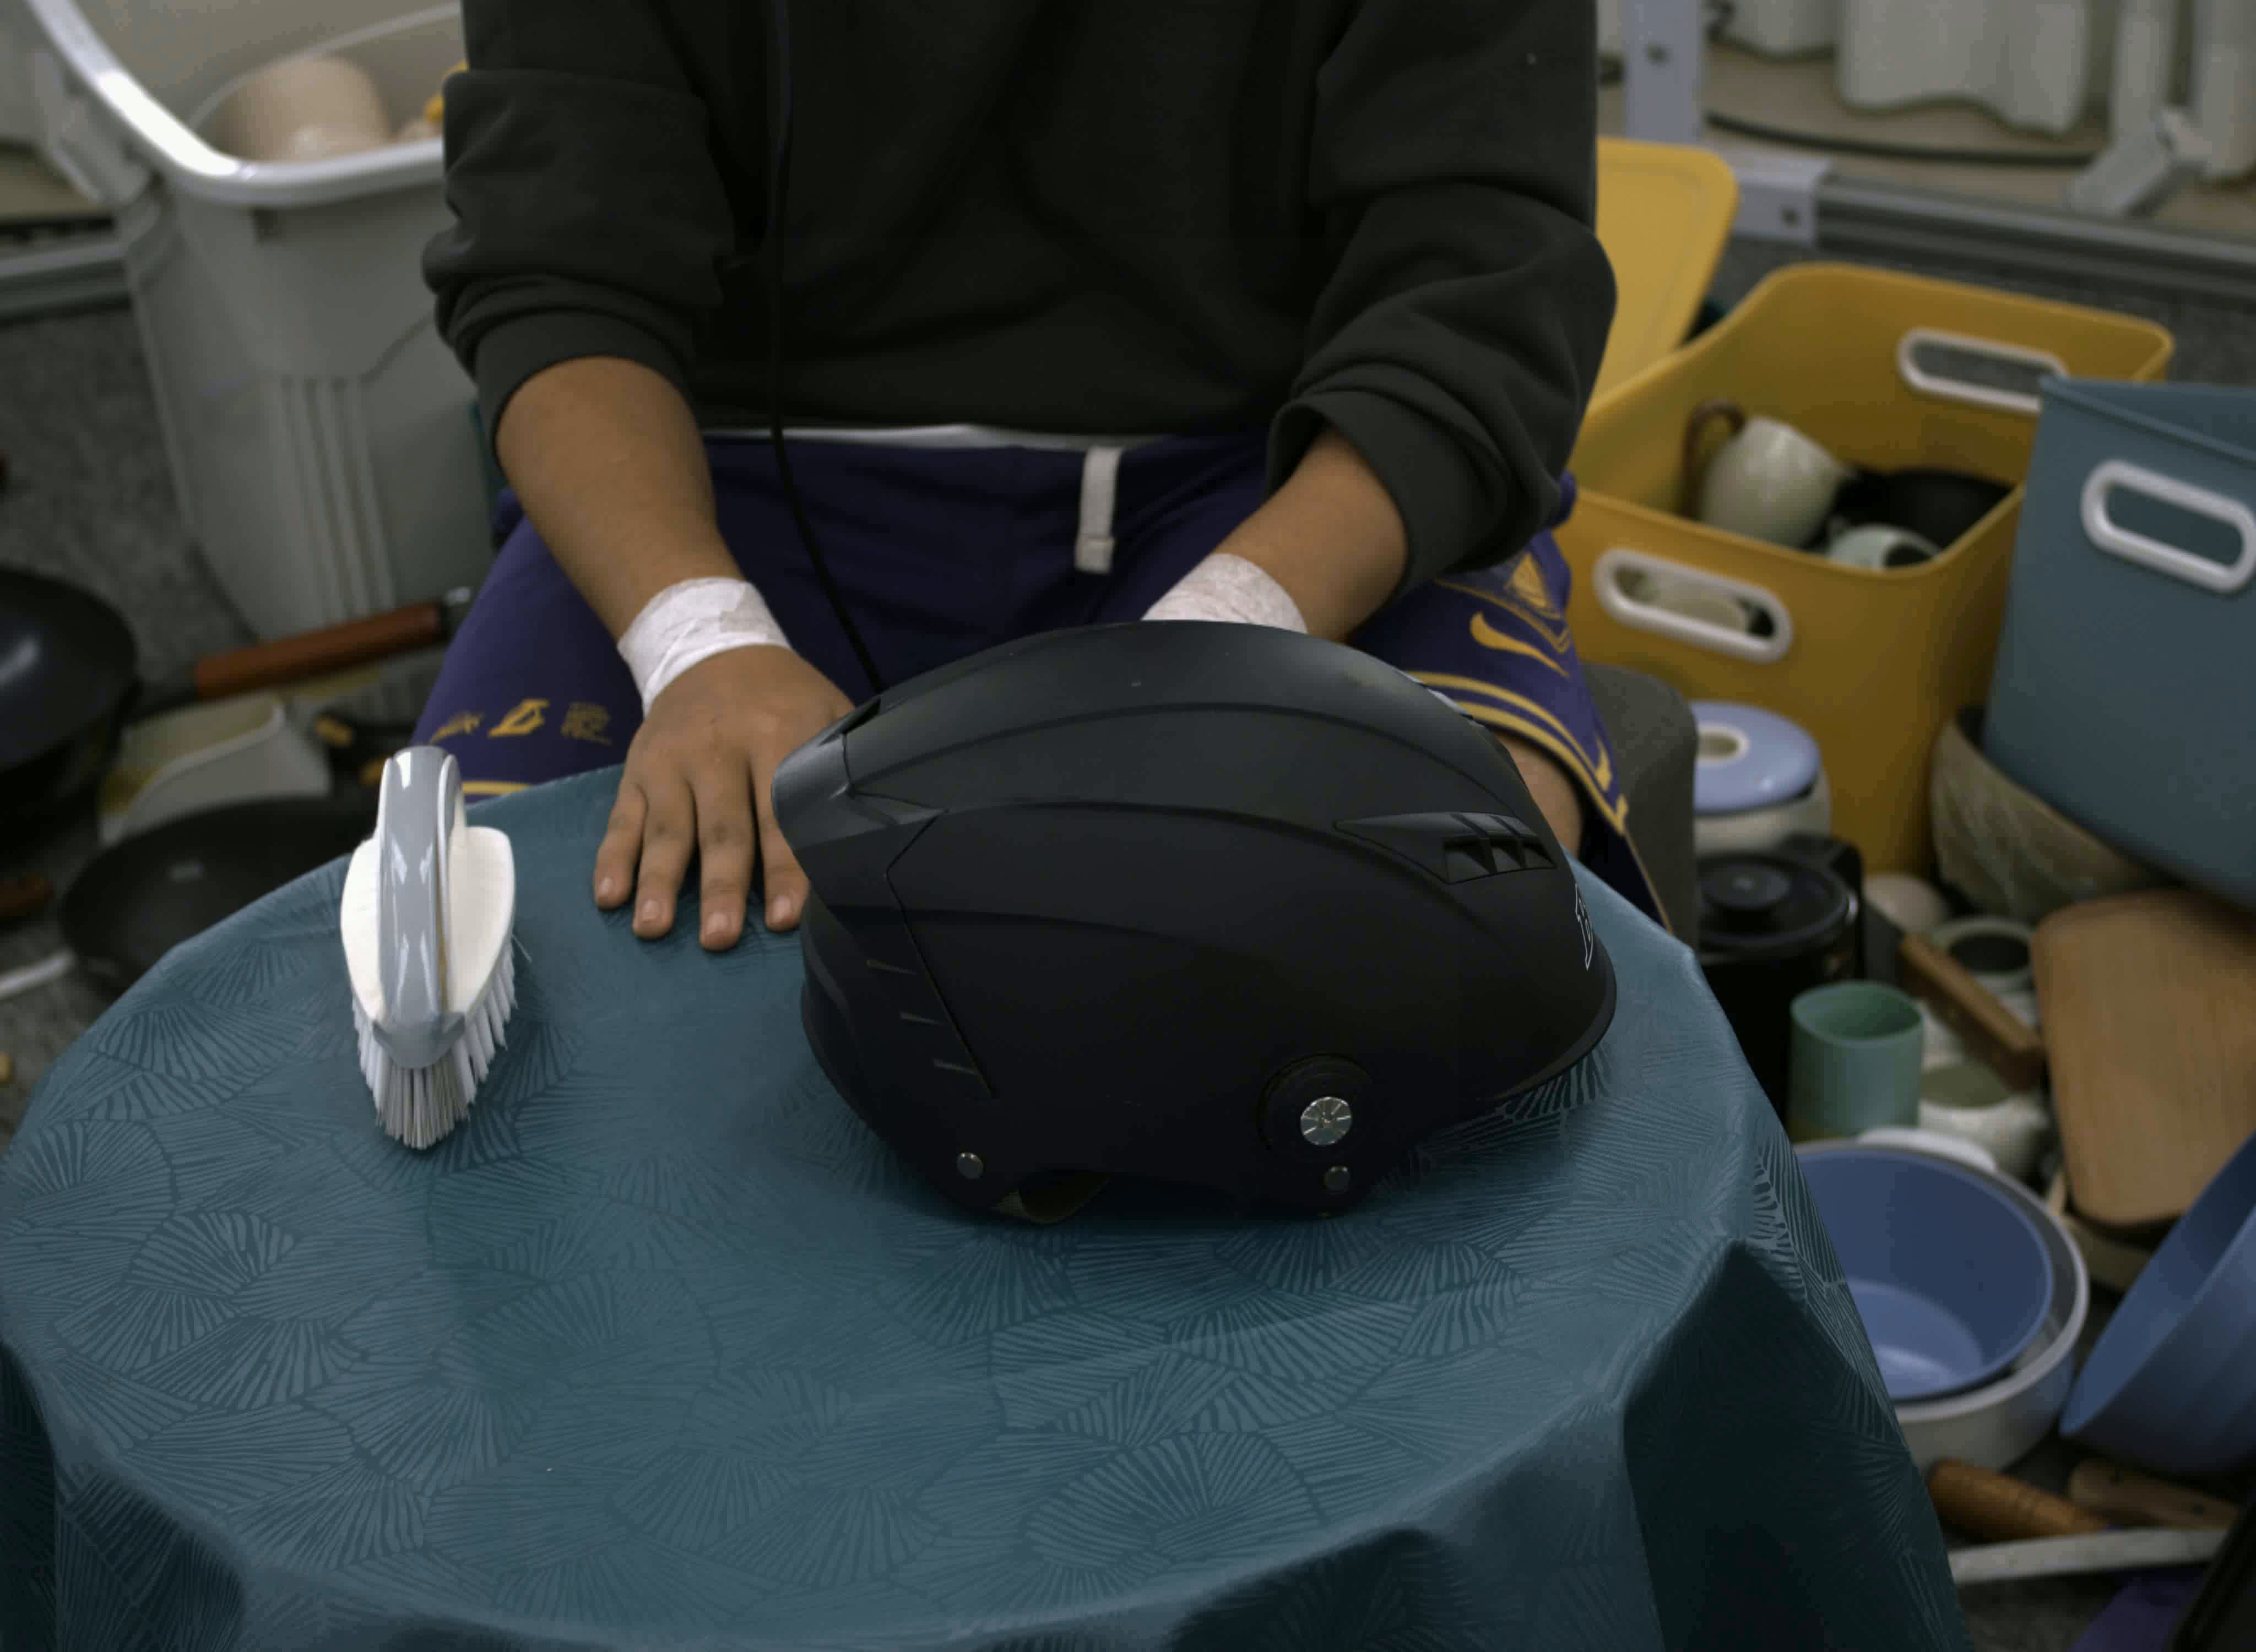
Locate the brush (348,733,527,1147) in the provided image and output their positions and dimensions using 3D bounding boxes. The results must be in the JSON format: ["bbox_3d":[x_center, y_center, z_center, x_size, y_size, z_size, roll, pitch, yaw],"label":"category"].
[{"bbox_3d":[-0.244,0.032,1.962,0.061,0.093,0.178,-5,29,-1],"label":"brush"}]

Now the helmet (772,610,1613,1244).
[{"bbox_3d":[0.021,0.015,1.895,0.275,0.170,0.250,-8,28,0],"label":"helmet"}]
